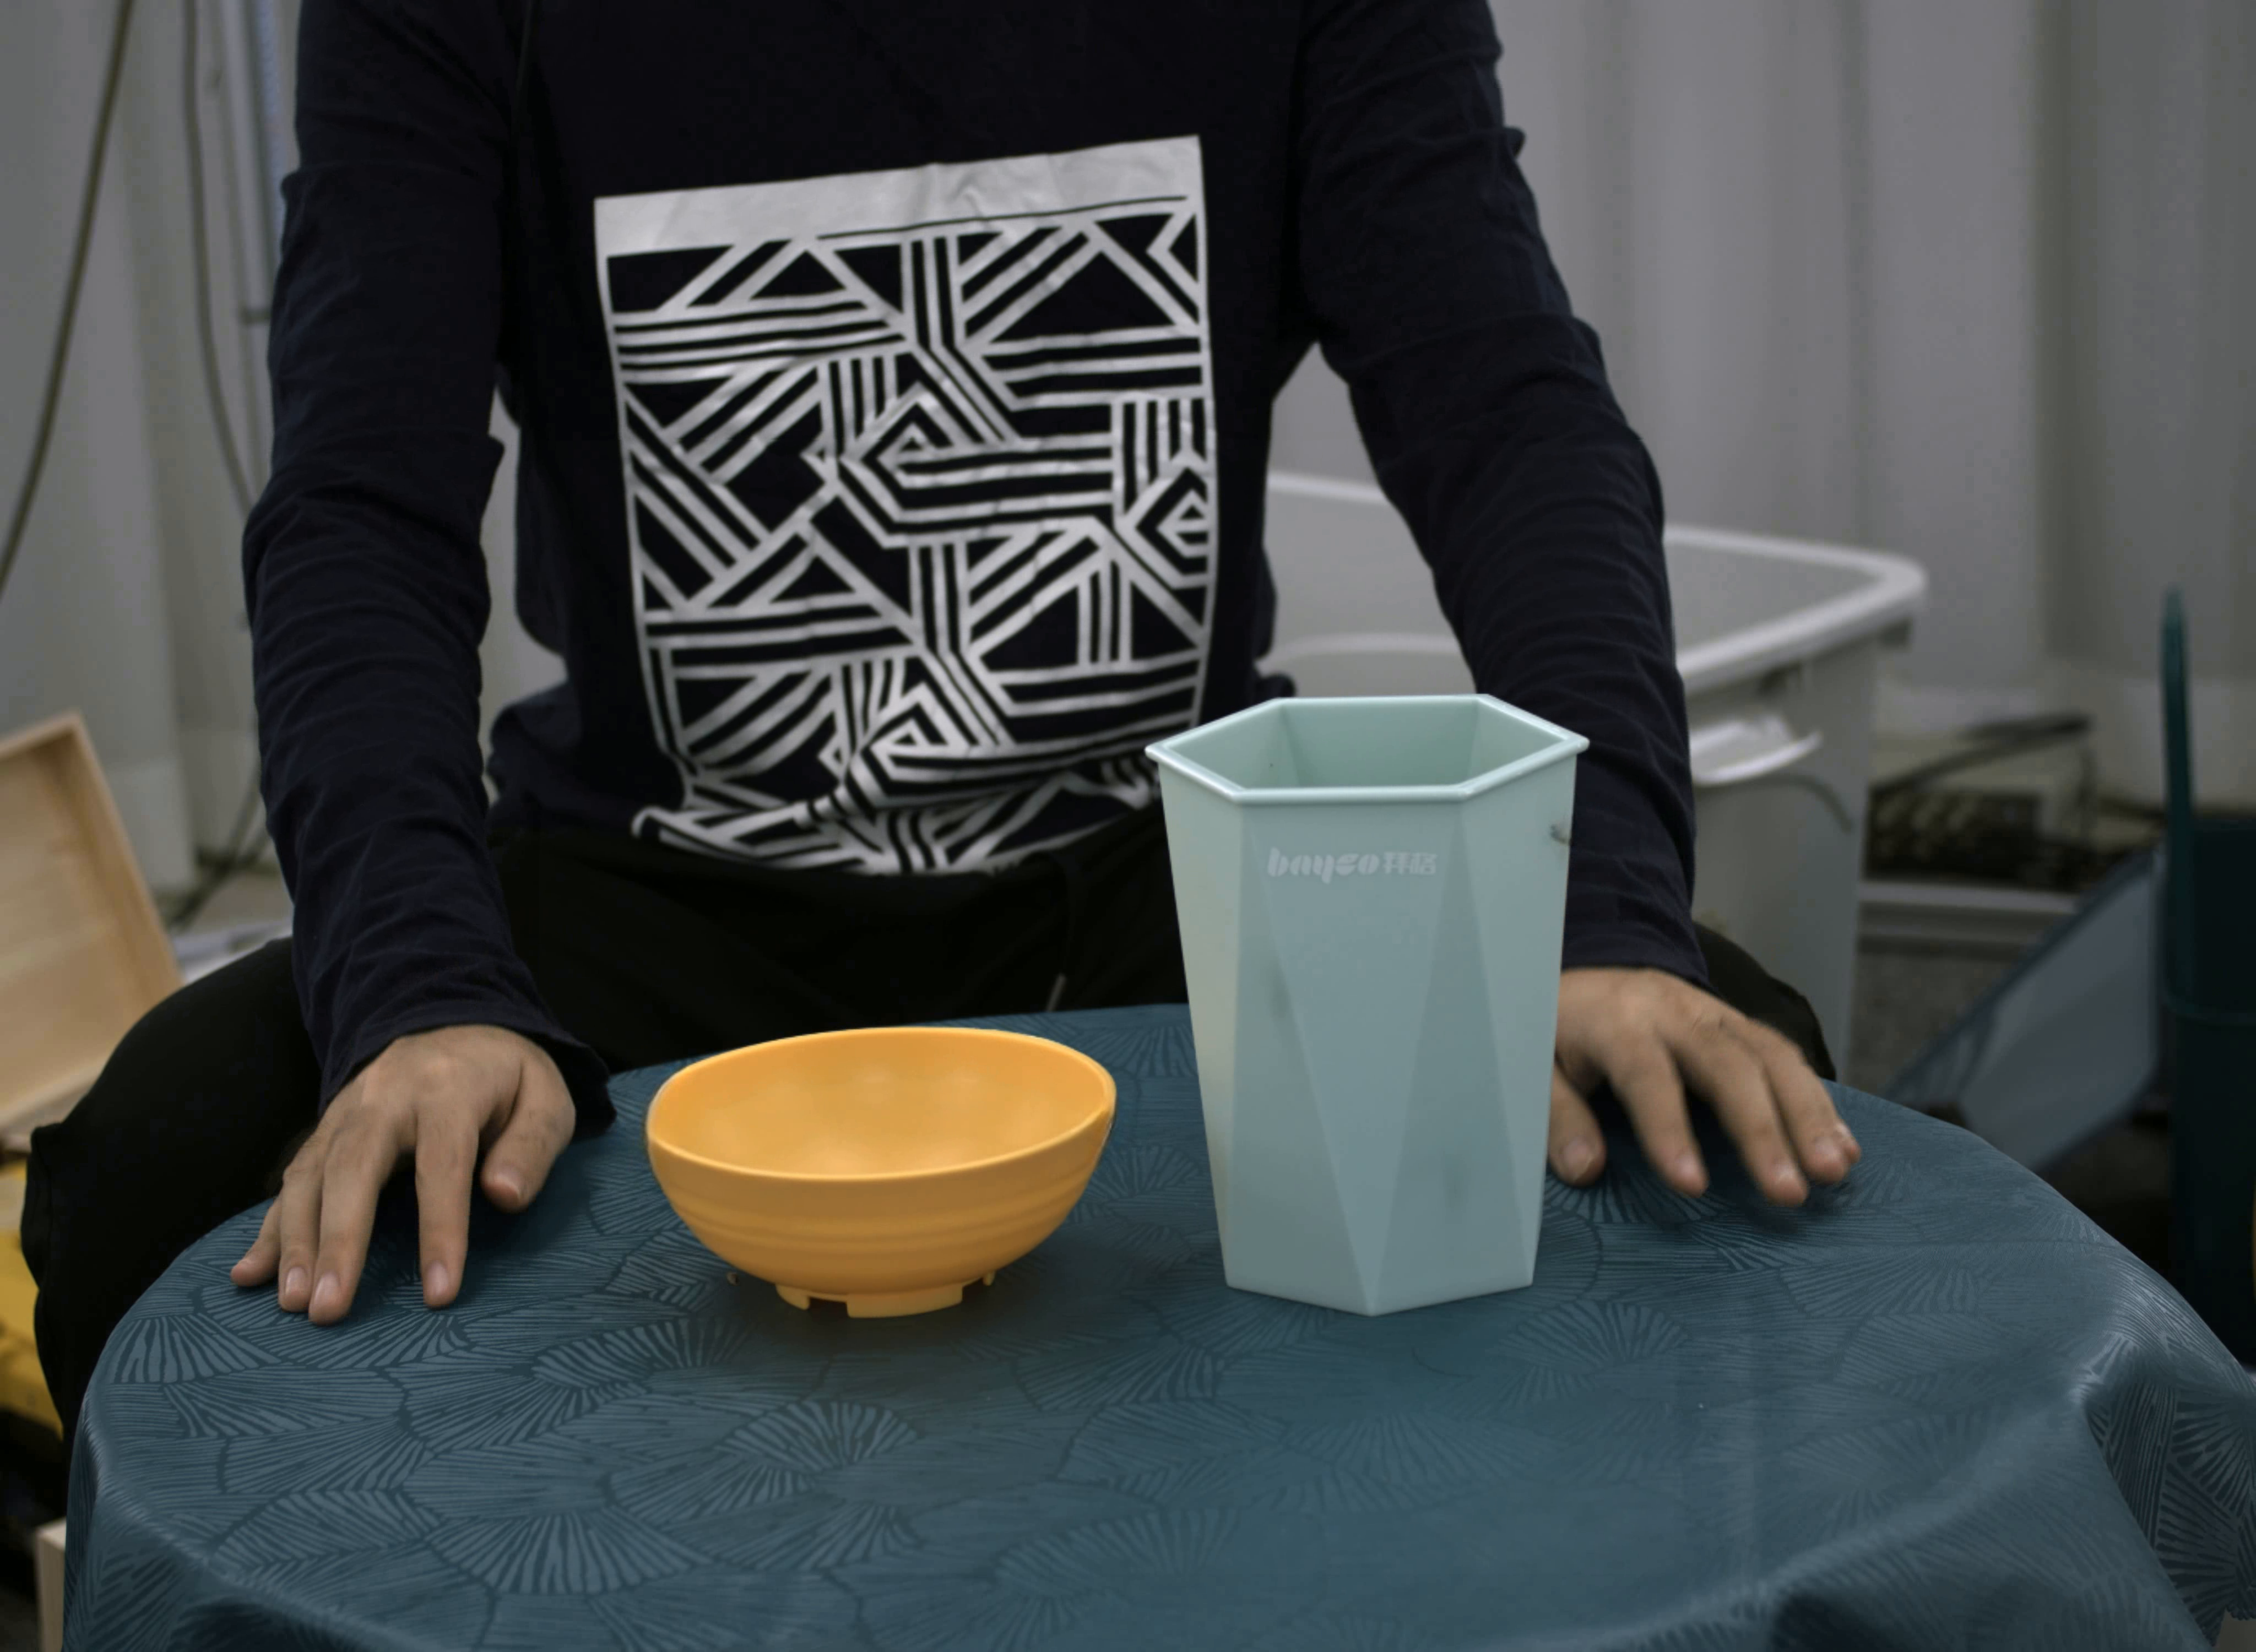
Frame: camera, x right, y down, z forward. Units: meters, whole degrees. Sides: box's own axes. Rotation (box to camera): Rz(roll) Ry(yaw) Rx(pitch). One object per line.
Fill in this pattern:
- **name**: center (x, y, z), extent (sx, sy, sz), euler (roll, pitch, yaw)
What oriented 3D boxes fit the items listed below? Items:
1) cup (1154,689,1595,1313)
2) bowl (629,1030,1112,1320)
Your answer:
- **cup**: center (0.075, 0.051, 1.624), extent (0.131, 0.162, 0.116), euler (-1, 13, 6)
- **bowl**: center (-0.076, 0.110, 1.639), extent (0.145, 0.060, 0.146), euler (-2, 14, 0)
